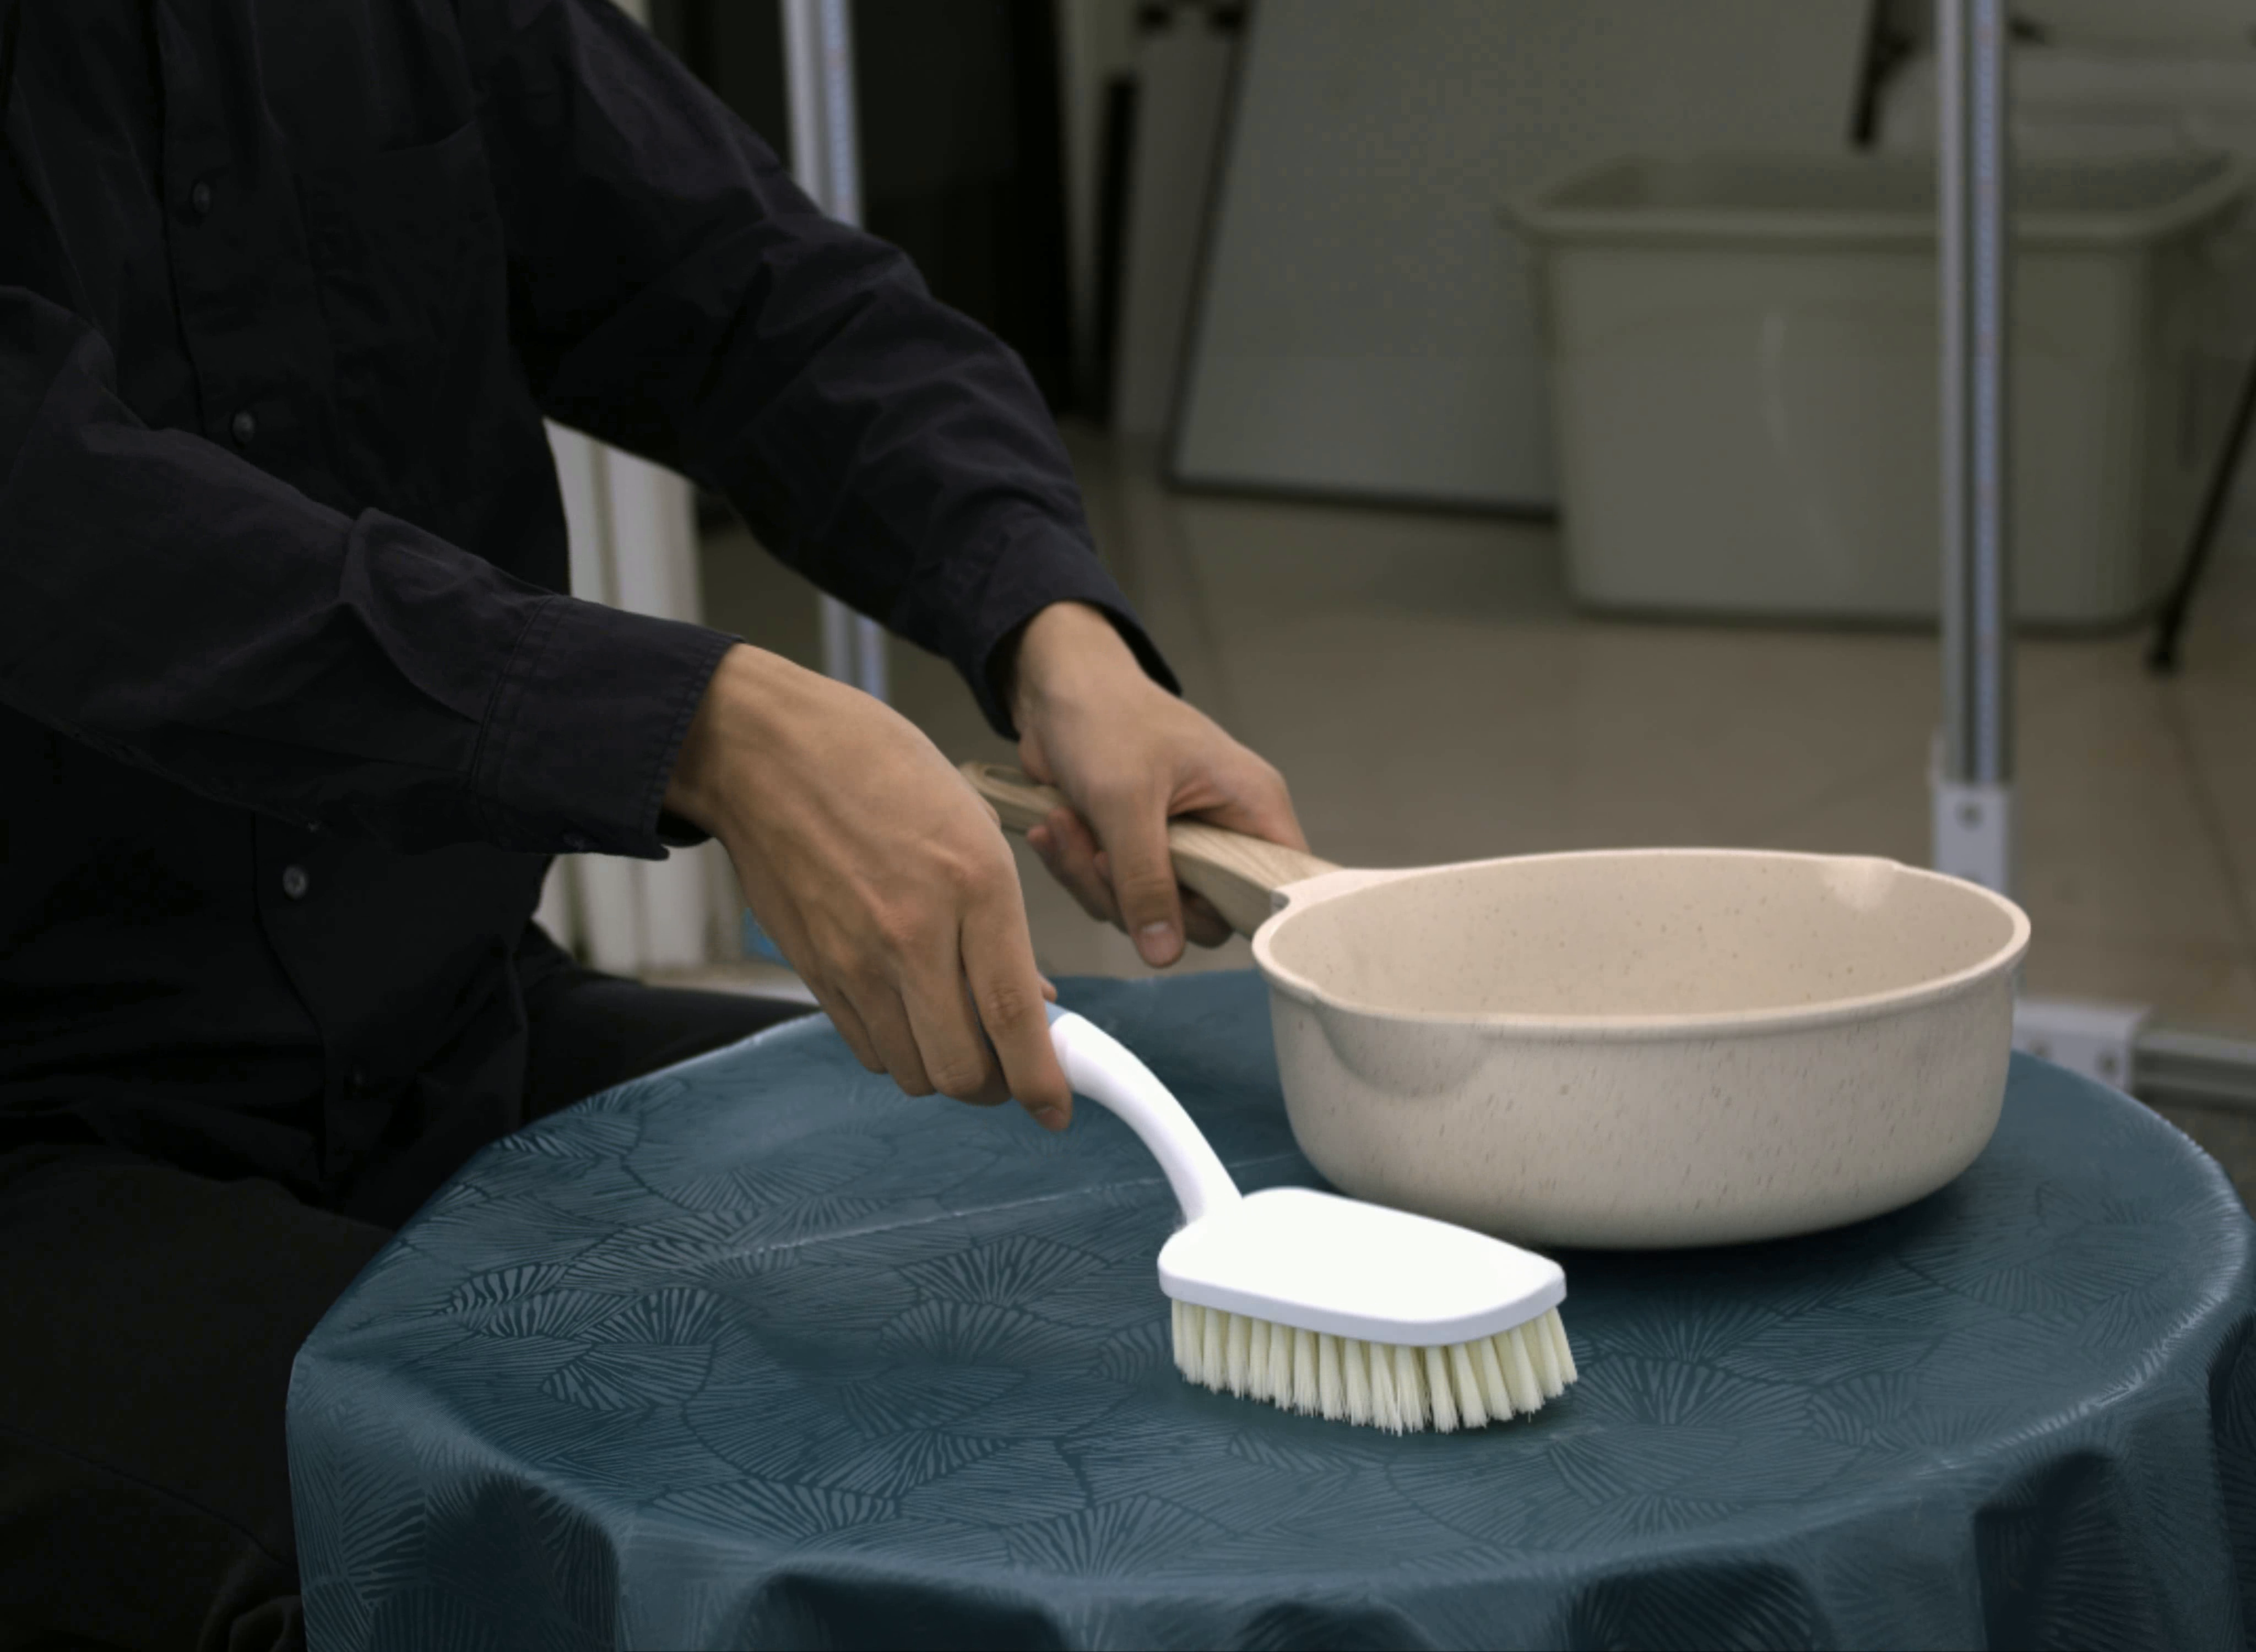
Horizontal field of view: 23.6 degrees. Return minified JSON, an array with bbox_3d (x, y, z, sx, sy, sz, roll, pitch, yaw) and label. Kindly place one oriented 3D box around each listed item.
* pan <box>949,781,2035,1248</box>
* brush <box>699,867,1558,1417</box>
[{"bbox_3d":[0.102,0.055,1.800,0.439,0.103,0.258,8,17,44],"label":"pan"},{"bbox_3d":[-0.006,0.107,1.635,0.328,0.085,0.082,23,-6,33],"label":"brush"}]
